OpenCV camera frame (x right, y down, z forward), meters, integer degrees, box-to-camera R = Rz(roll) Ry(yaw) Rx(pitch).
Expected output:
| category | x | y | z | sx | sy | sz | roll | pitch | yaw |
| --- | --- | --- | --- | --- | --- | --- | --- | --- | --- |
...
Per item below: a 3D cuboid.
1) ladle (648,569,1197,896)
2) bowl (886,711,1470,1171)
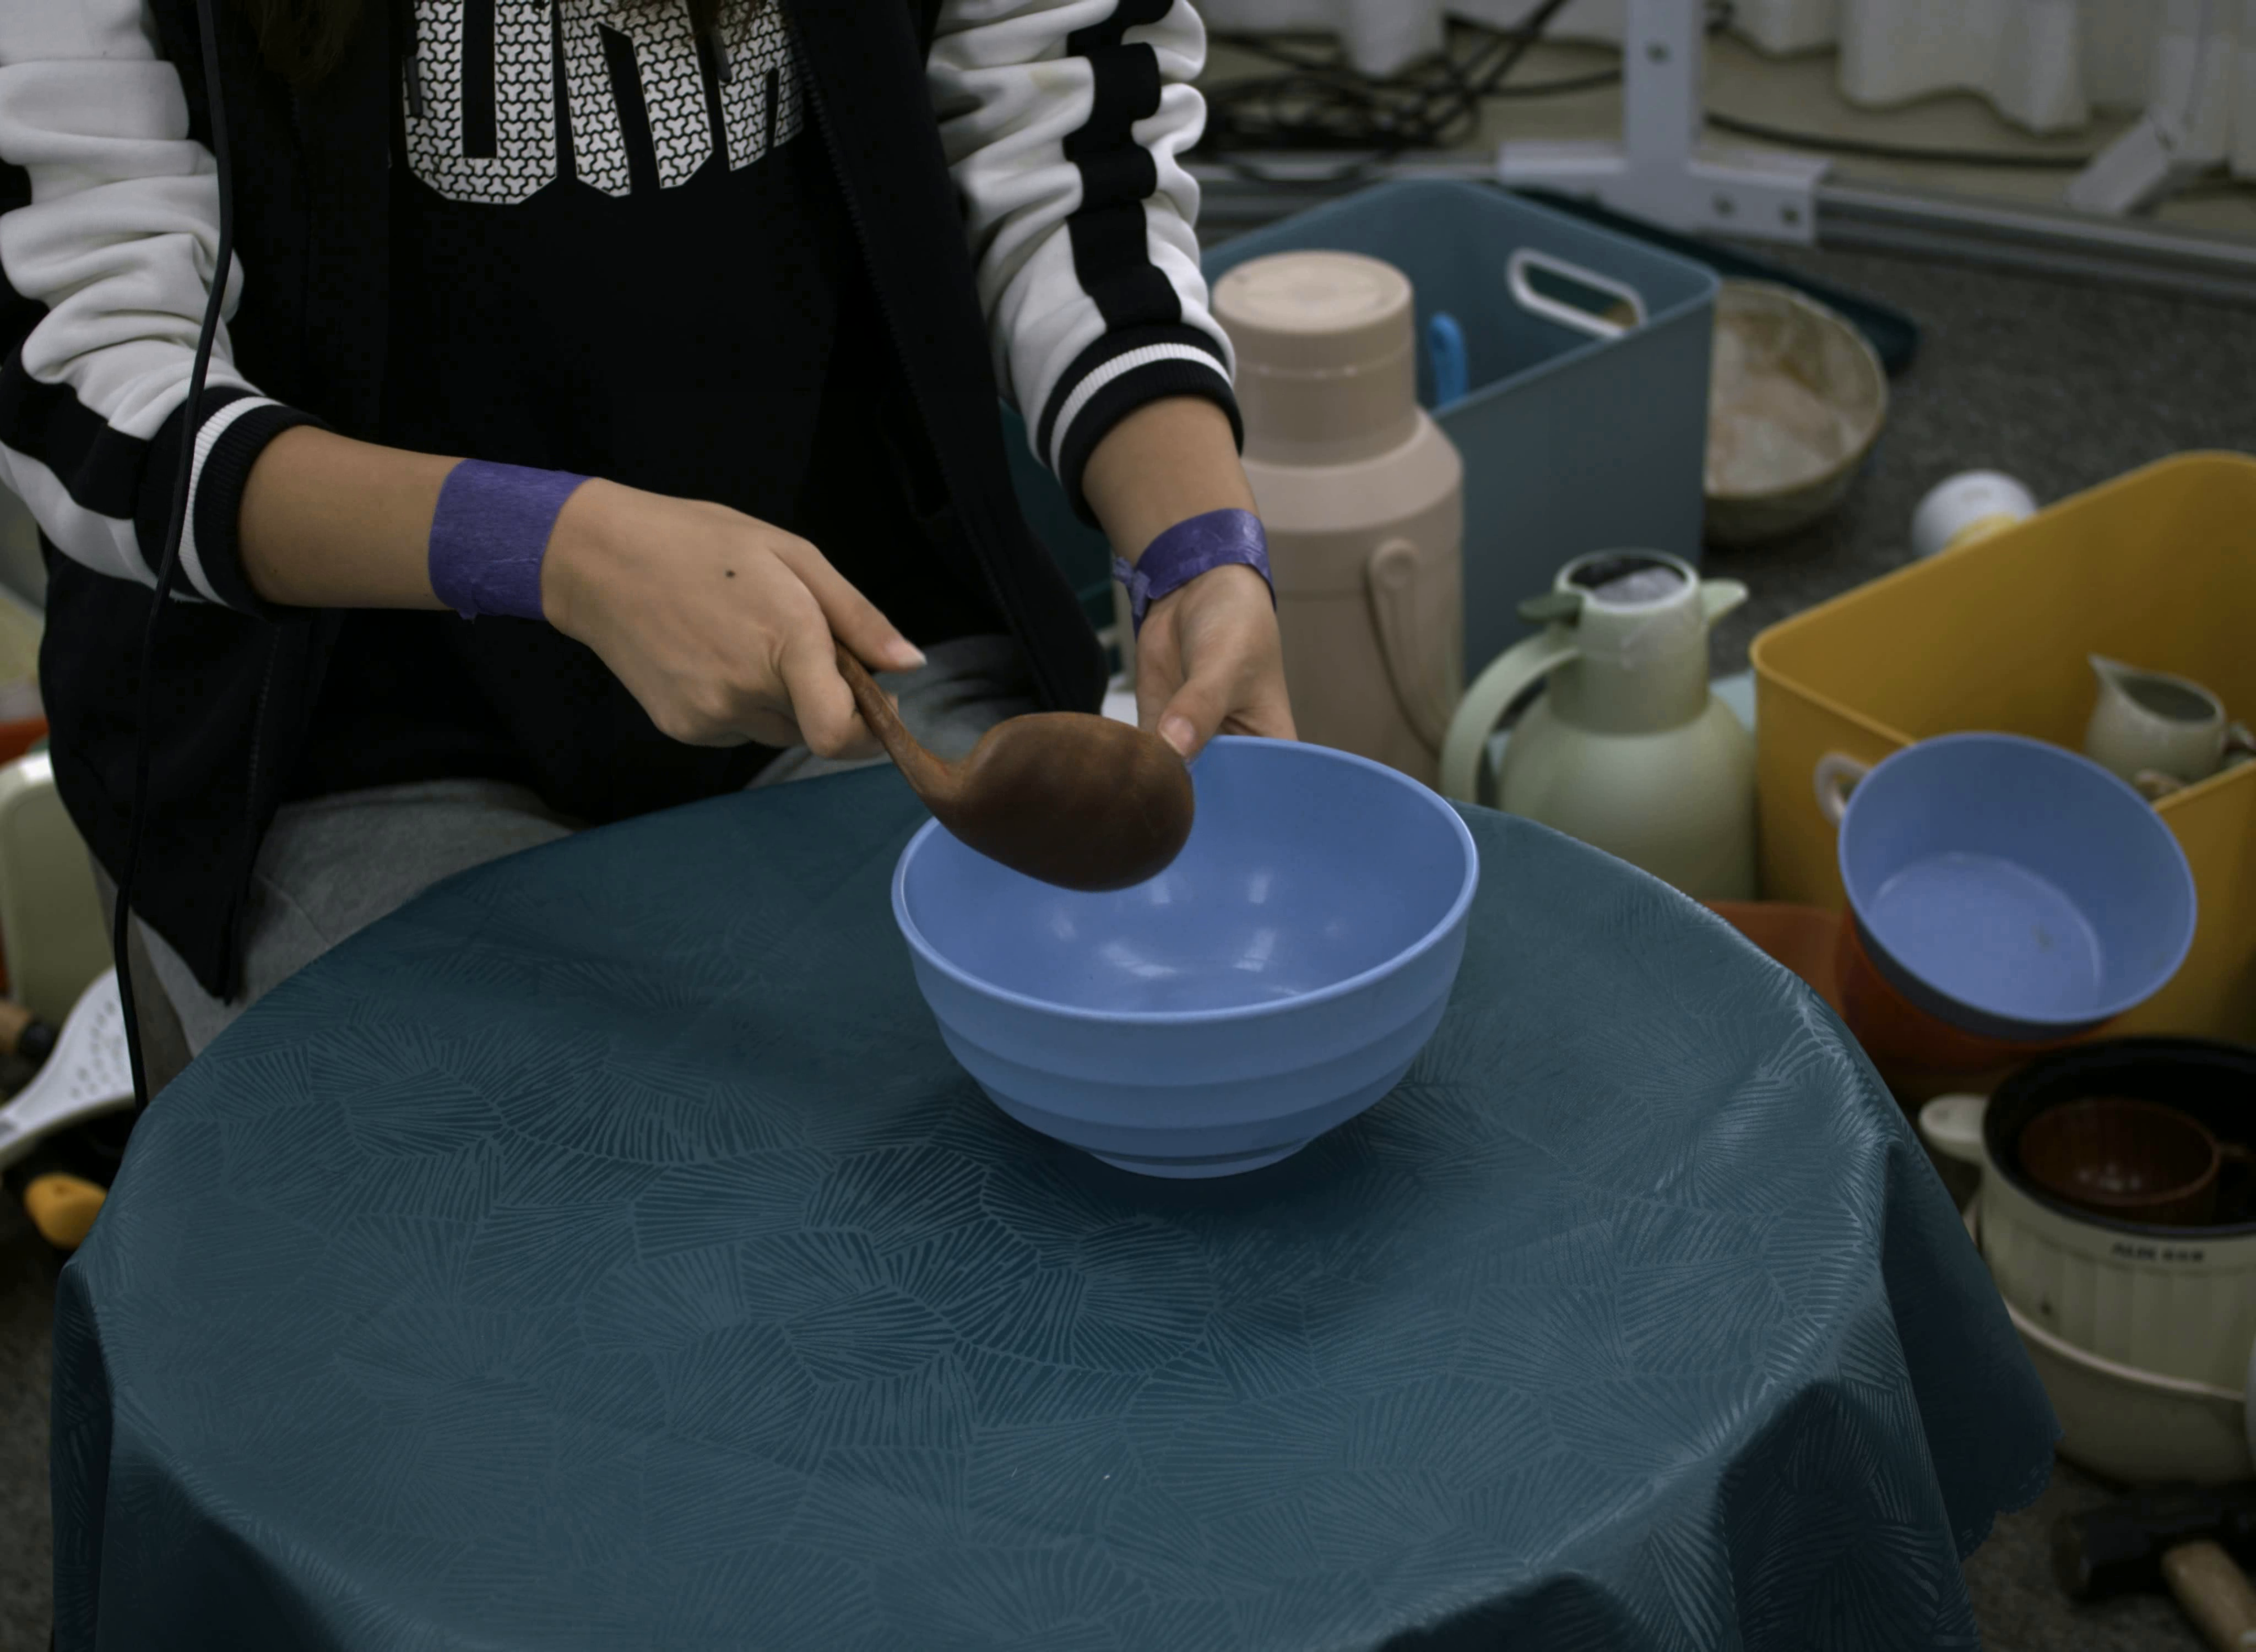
| category | x | y | z | sx | sy | sz | roll | pitch | yaw |
| --- | --- | --- | --- | --- | --- | --- | --- | --- | --- |
| ladle | -0.071 | -0.045 | 1.884 | 0.065 | 0.075 | 0.261 | -35 | 40 | -18 |
| bowl | 0.021 | 0.052 | 1.894 | 0.195 | 0.094 | 0.200 | -5 | 32 | 4 |
